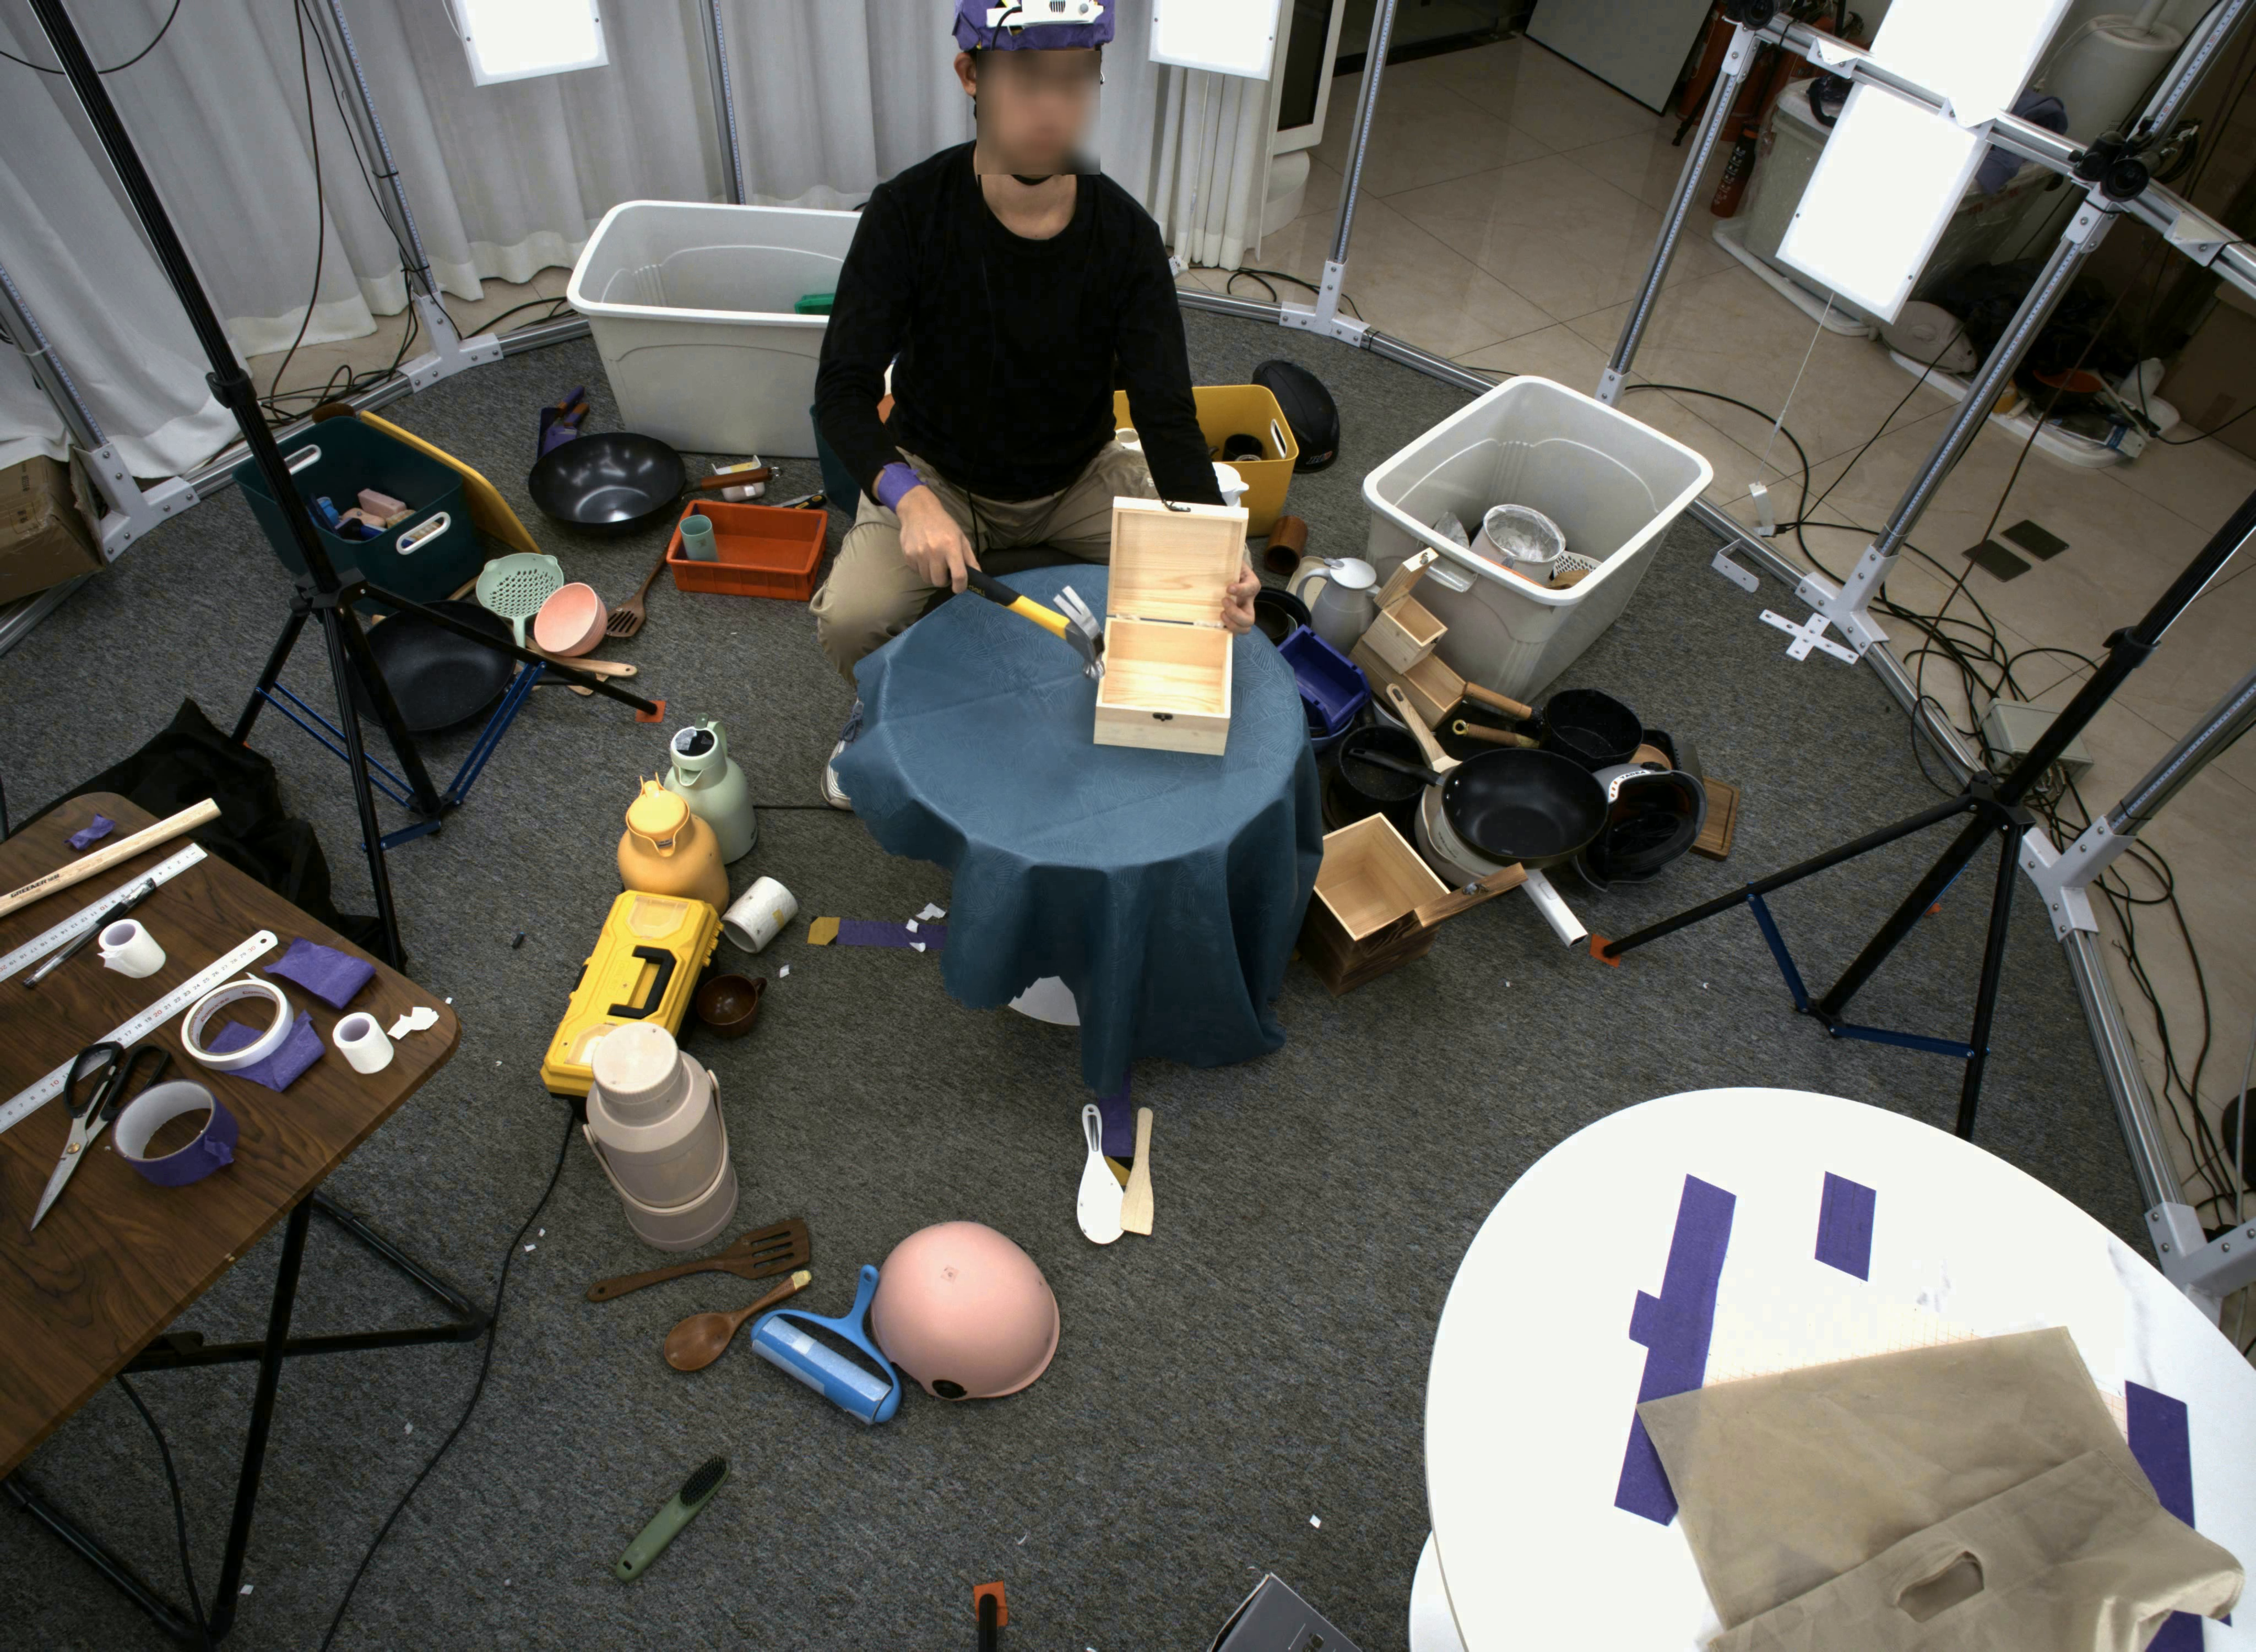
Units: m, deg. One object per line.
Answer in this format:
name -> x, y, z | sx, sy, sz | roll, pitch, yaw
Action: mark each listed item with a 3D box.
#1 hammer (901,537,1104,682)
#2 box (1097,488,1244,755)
hammer -> -0.174, -0.312, 1.734 | 0.342, 0.128, 0.032 | 30, 62, 25
box -> 0.057, -0.278, 1.753 | 0.182, 0.247, 0.271 | 3, 49, 2
